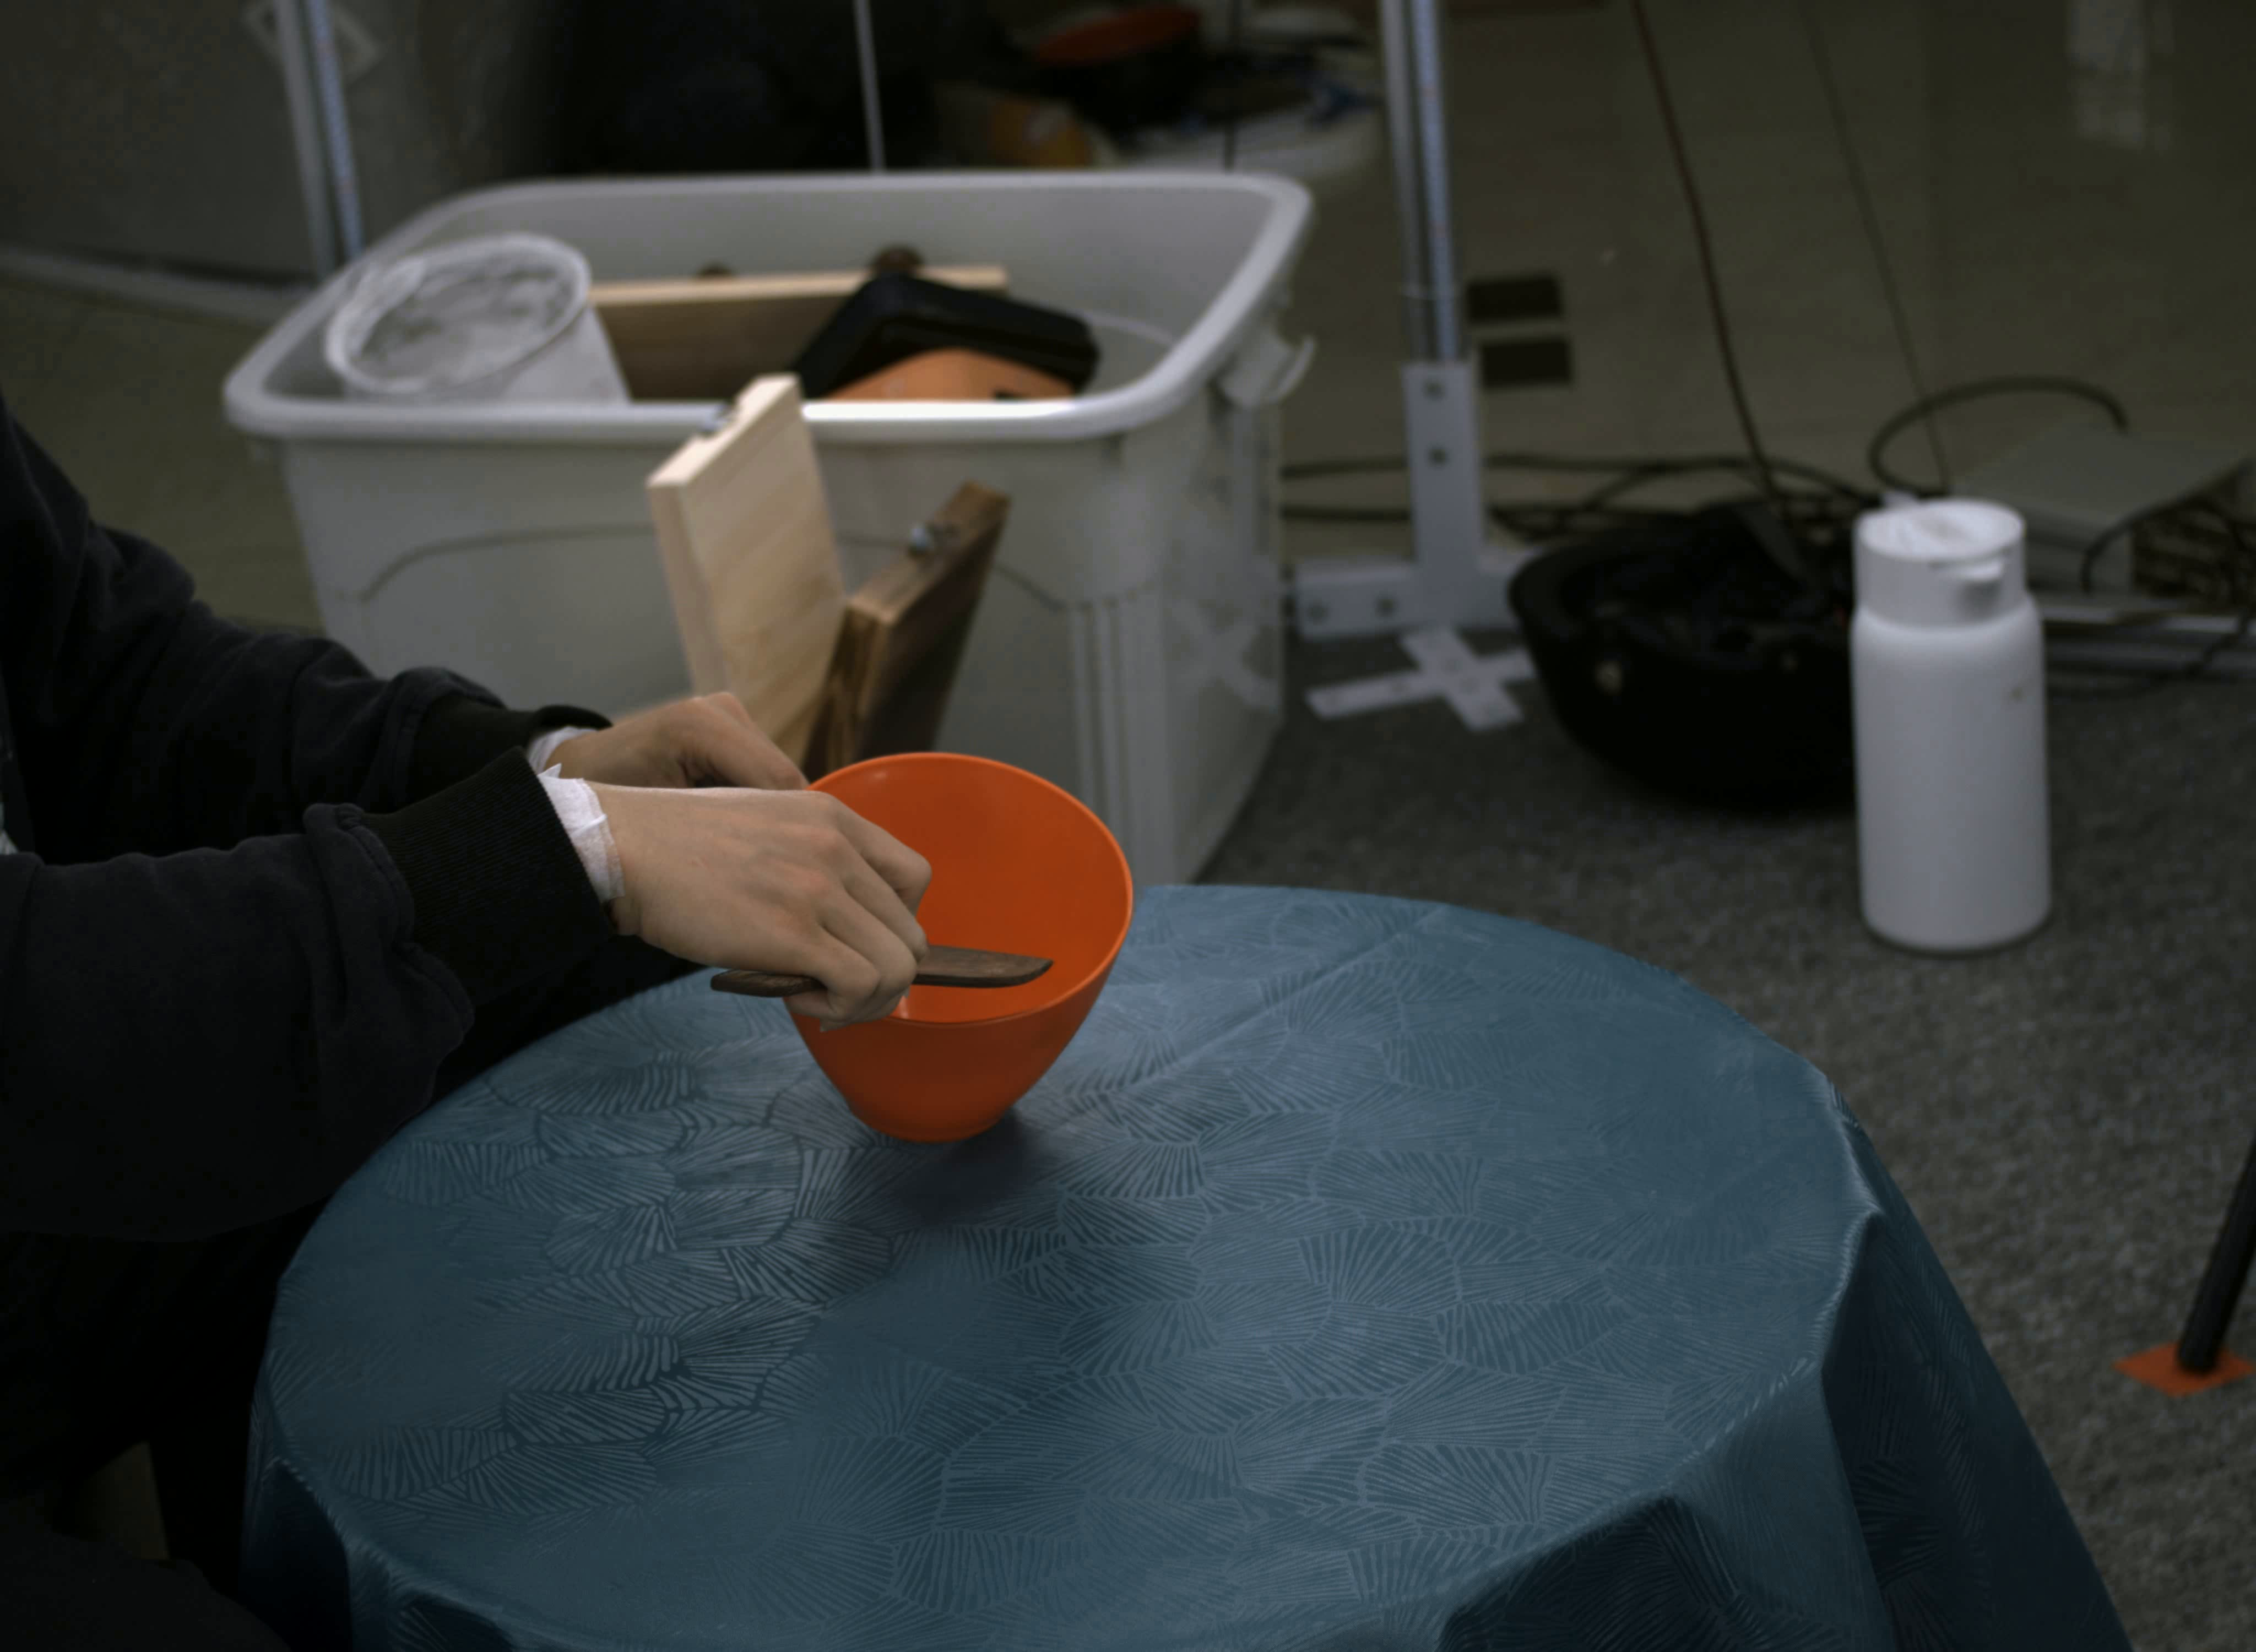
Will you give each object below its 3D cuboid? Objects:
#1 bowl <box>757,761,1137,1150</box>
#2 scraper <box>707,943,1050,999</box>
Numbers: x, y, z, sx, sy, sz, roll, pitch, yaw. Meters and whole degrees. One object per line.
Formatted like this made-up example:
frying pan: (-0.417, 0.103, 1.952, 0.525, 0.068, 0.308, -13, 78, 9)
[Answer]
bowl: (-0.073, 0.058, 2.204, 0.148, 0.106, 0.145, 5, 35, -3)
scraper: (-0.098, 0.054, 2.057, 0.075, 0.011, 0.211, 6, 3, 21)
